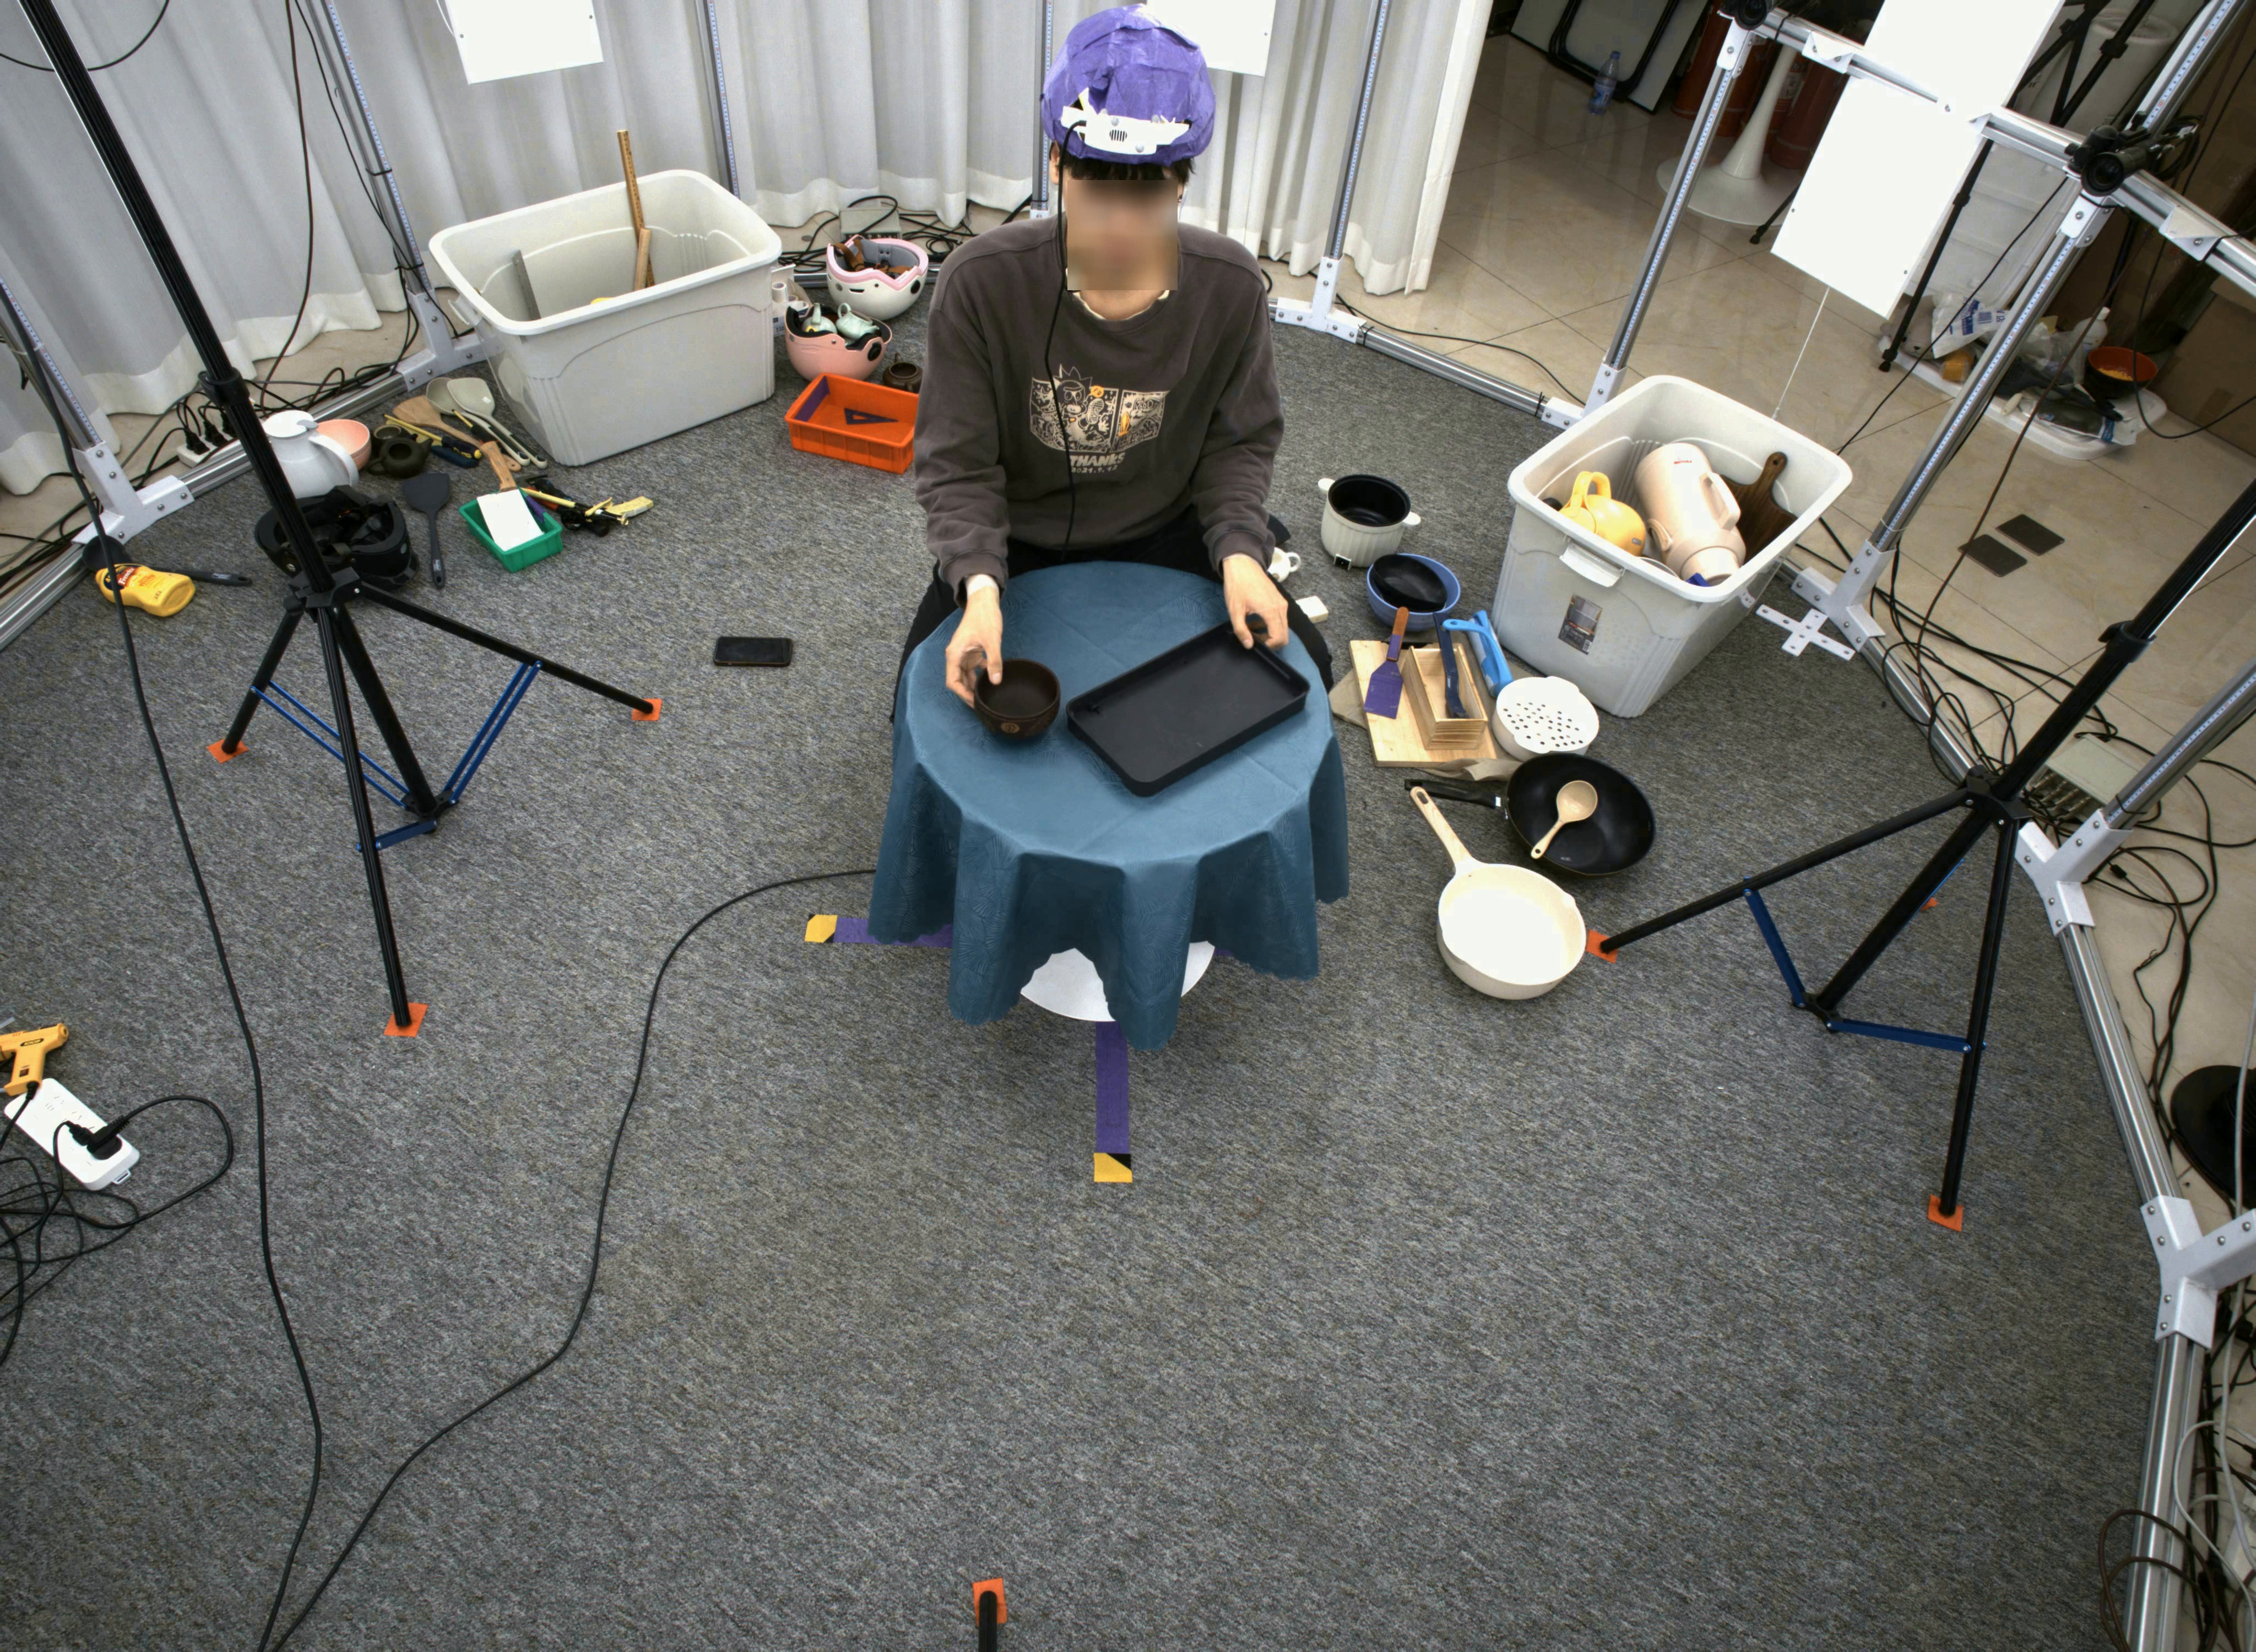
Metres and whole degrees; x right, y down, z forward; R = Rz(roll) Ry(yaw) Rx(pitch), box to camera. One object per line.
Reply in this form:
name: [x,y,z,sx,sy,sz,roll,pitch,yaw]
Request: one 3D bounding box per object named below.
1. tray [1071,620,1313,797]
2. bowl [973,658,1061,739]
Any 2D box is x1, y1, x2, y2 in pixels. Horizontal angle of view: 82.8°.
tray: [0.091,-0.170,1.796,0.320,0.036,0.187,-31,57,-26]
bowl: [-0.151,-0.166,1.754,0.118,0.068,0.121,2,48,-3]
